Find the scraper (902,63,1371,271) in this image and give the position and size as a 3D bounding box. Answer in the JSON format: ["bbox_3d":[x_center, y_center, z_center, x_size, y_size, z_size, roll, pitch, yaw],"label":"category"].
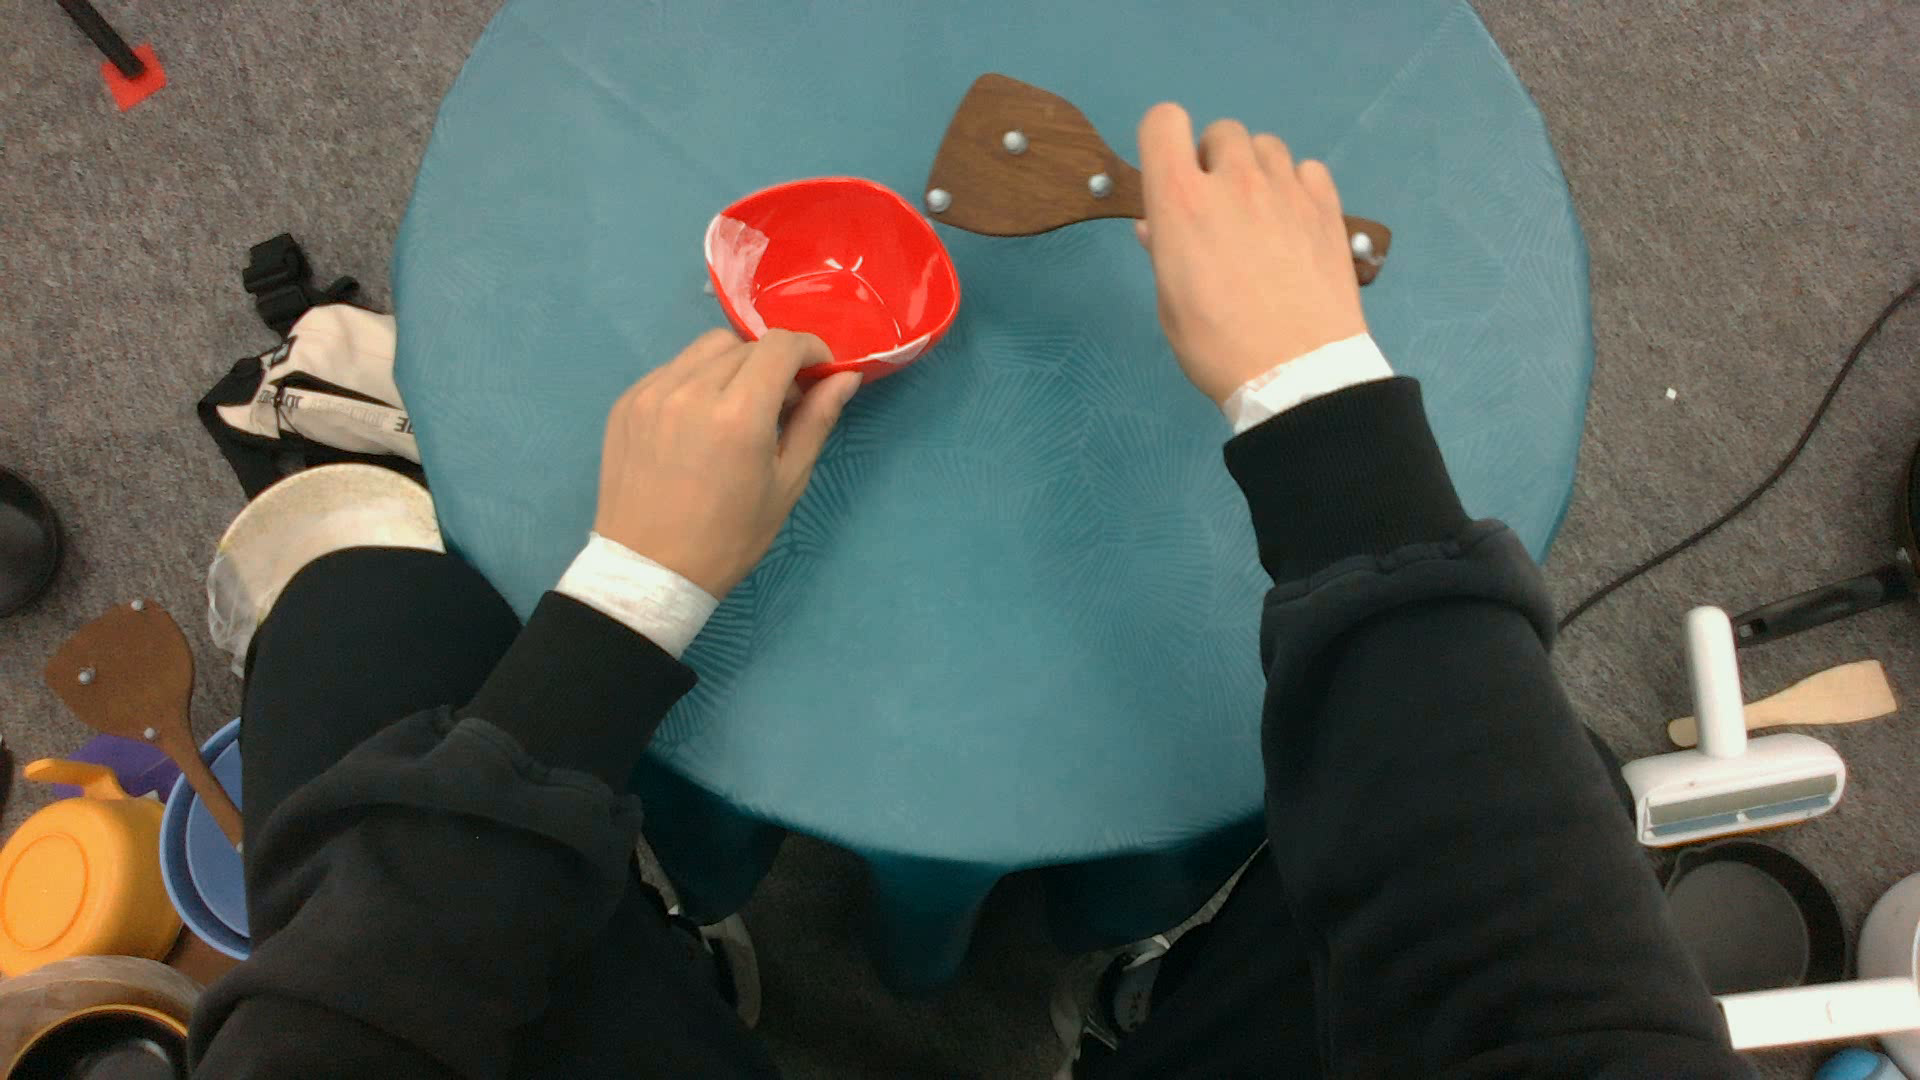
[{"bbox_3d":[0.073,-0.154,0.598,0.211,0.011,0.076,21,85,23],"label":"scraper"}]

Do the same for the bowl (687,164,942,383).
[{"bbox_3d":[-0.070,-0.117,0.648,0.119,0.051,0.119,6,58,-10],"label":"bowl"}]
